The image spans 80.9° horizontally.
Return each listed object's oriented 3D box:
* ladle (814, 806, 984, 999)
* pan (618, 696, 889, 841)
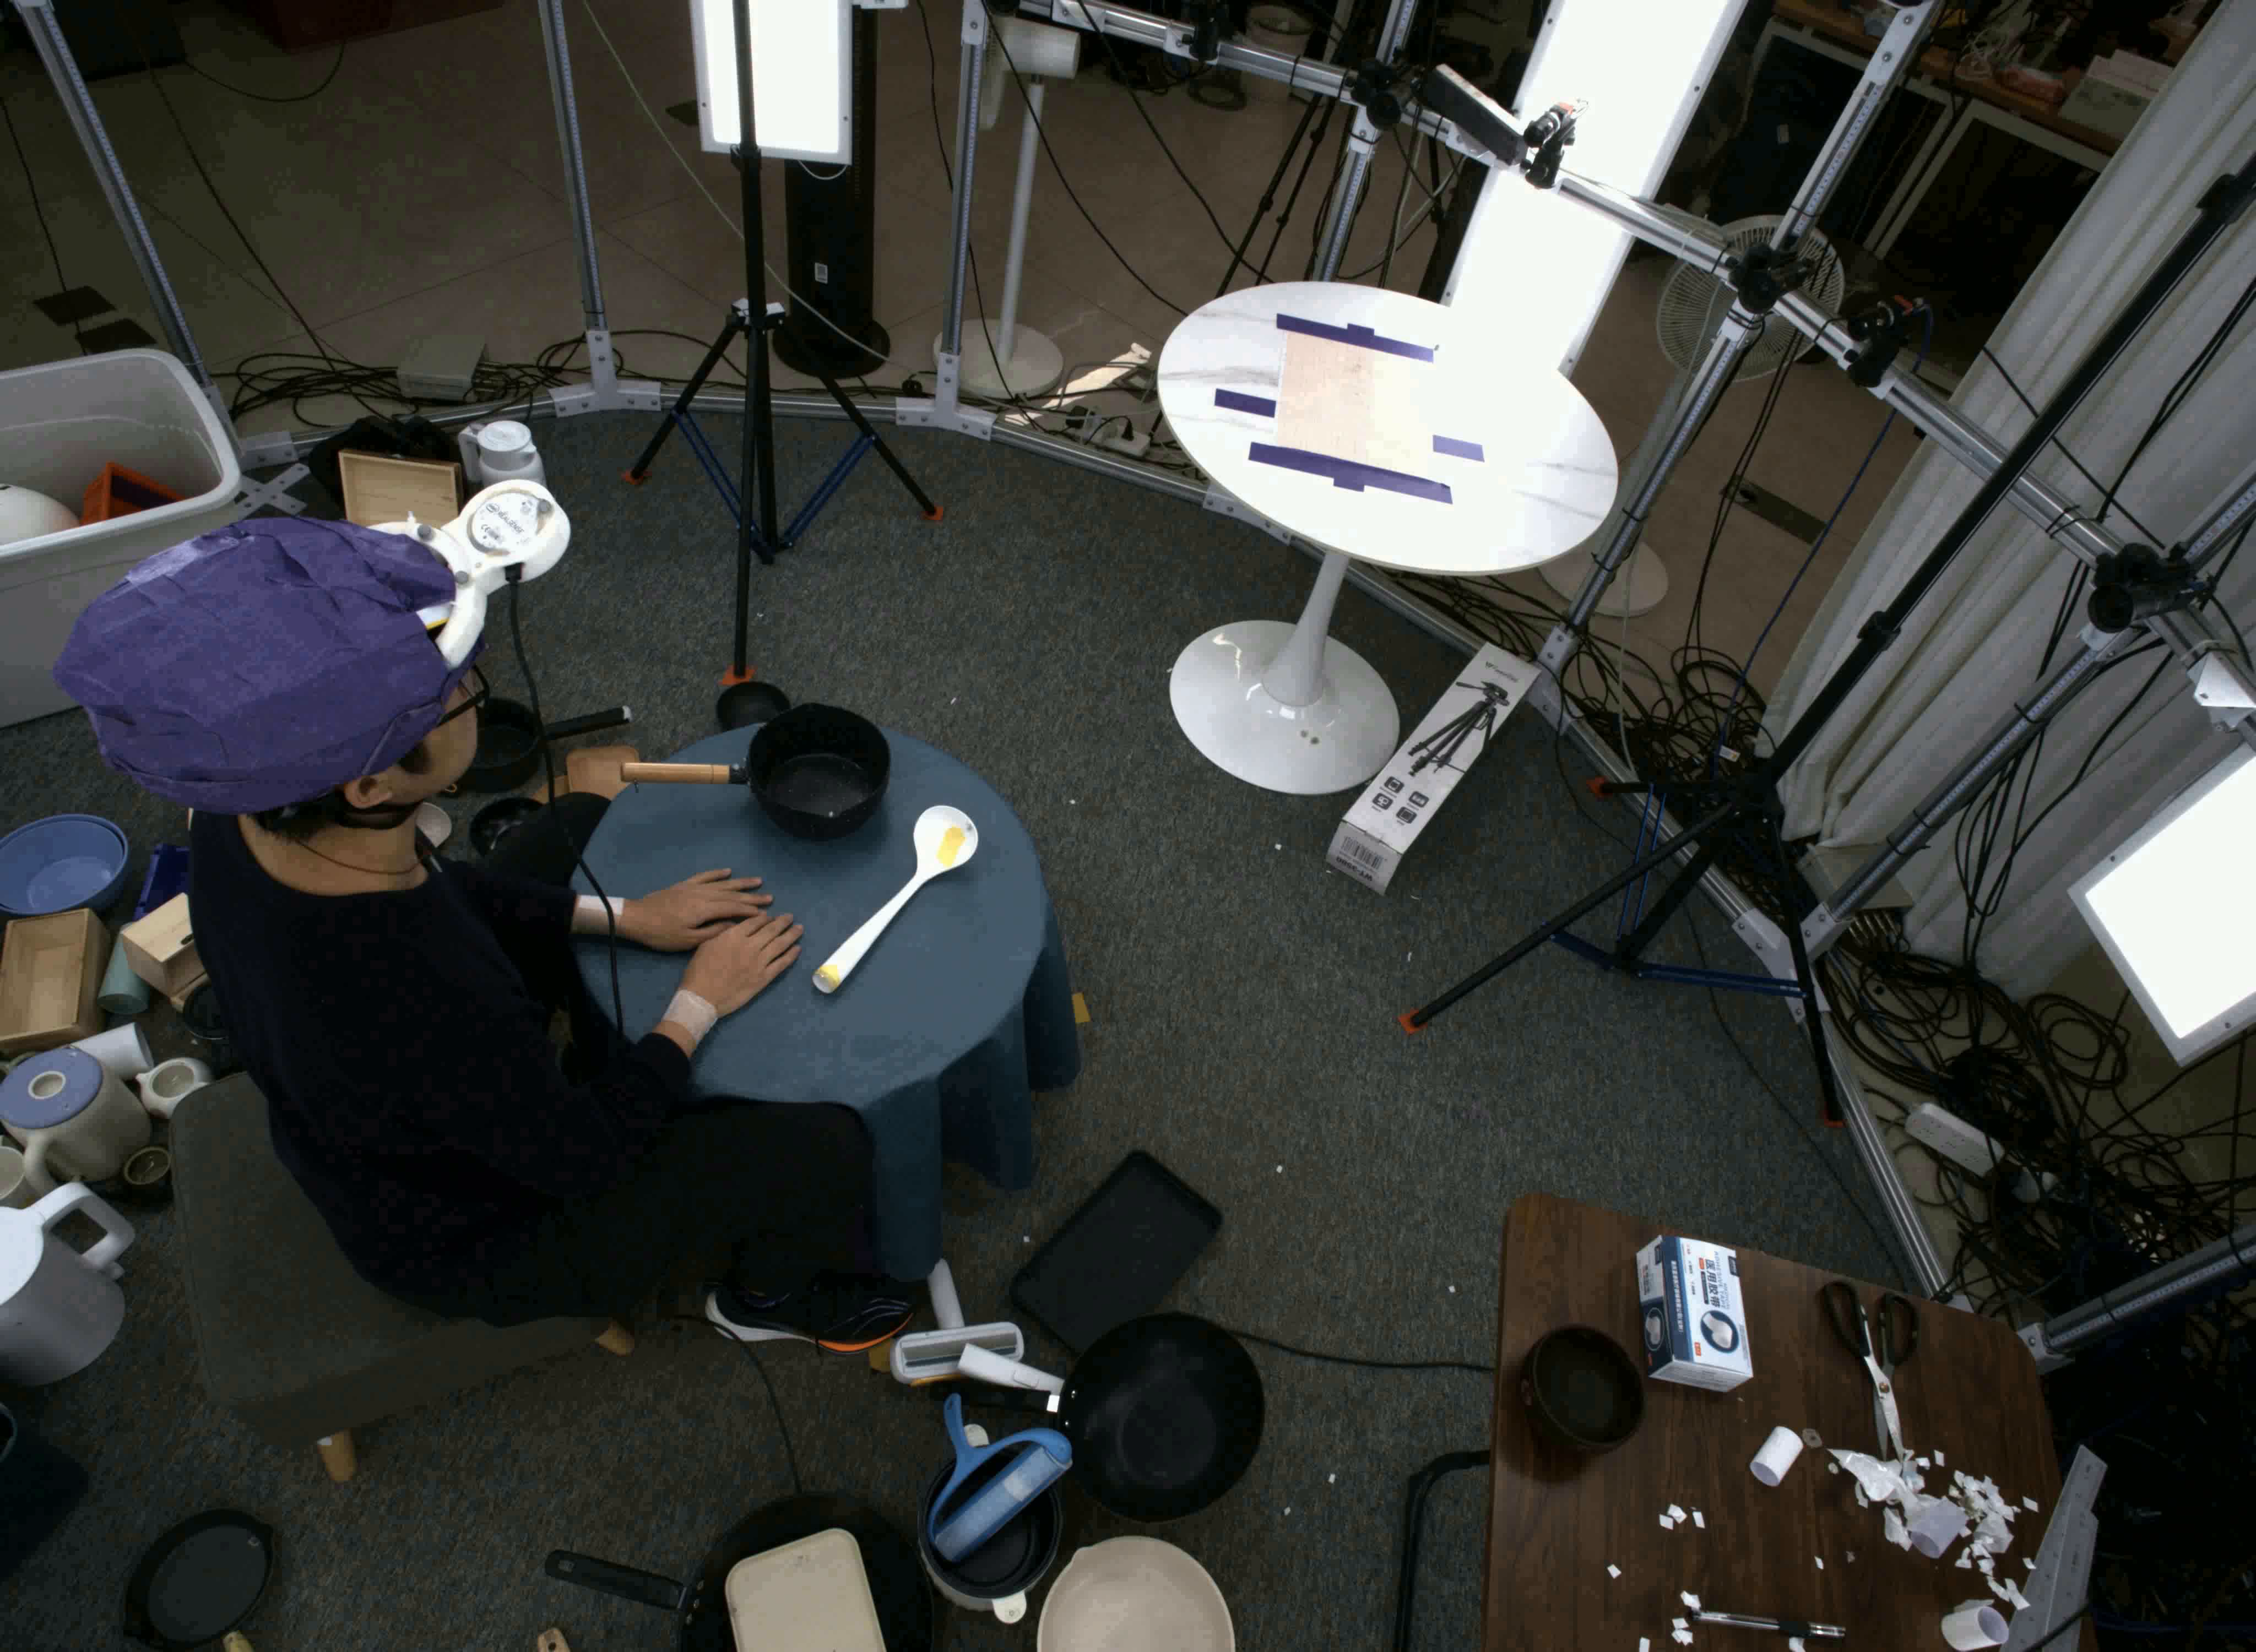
[{"bbox_3d":[-0.290,0.094,1.638,0.089,0.071,0.292,35,53,6],"label":"ladle"},{"bbox_3d":[-0.482,-0.062,1.675,0.345,0.110,0.202,-8,57,-22],"label":"pan"}]
